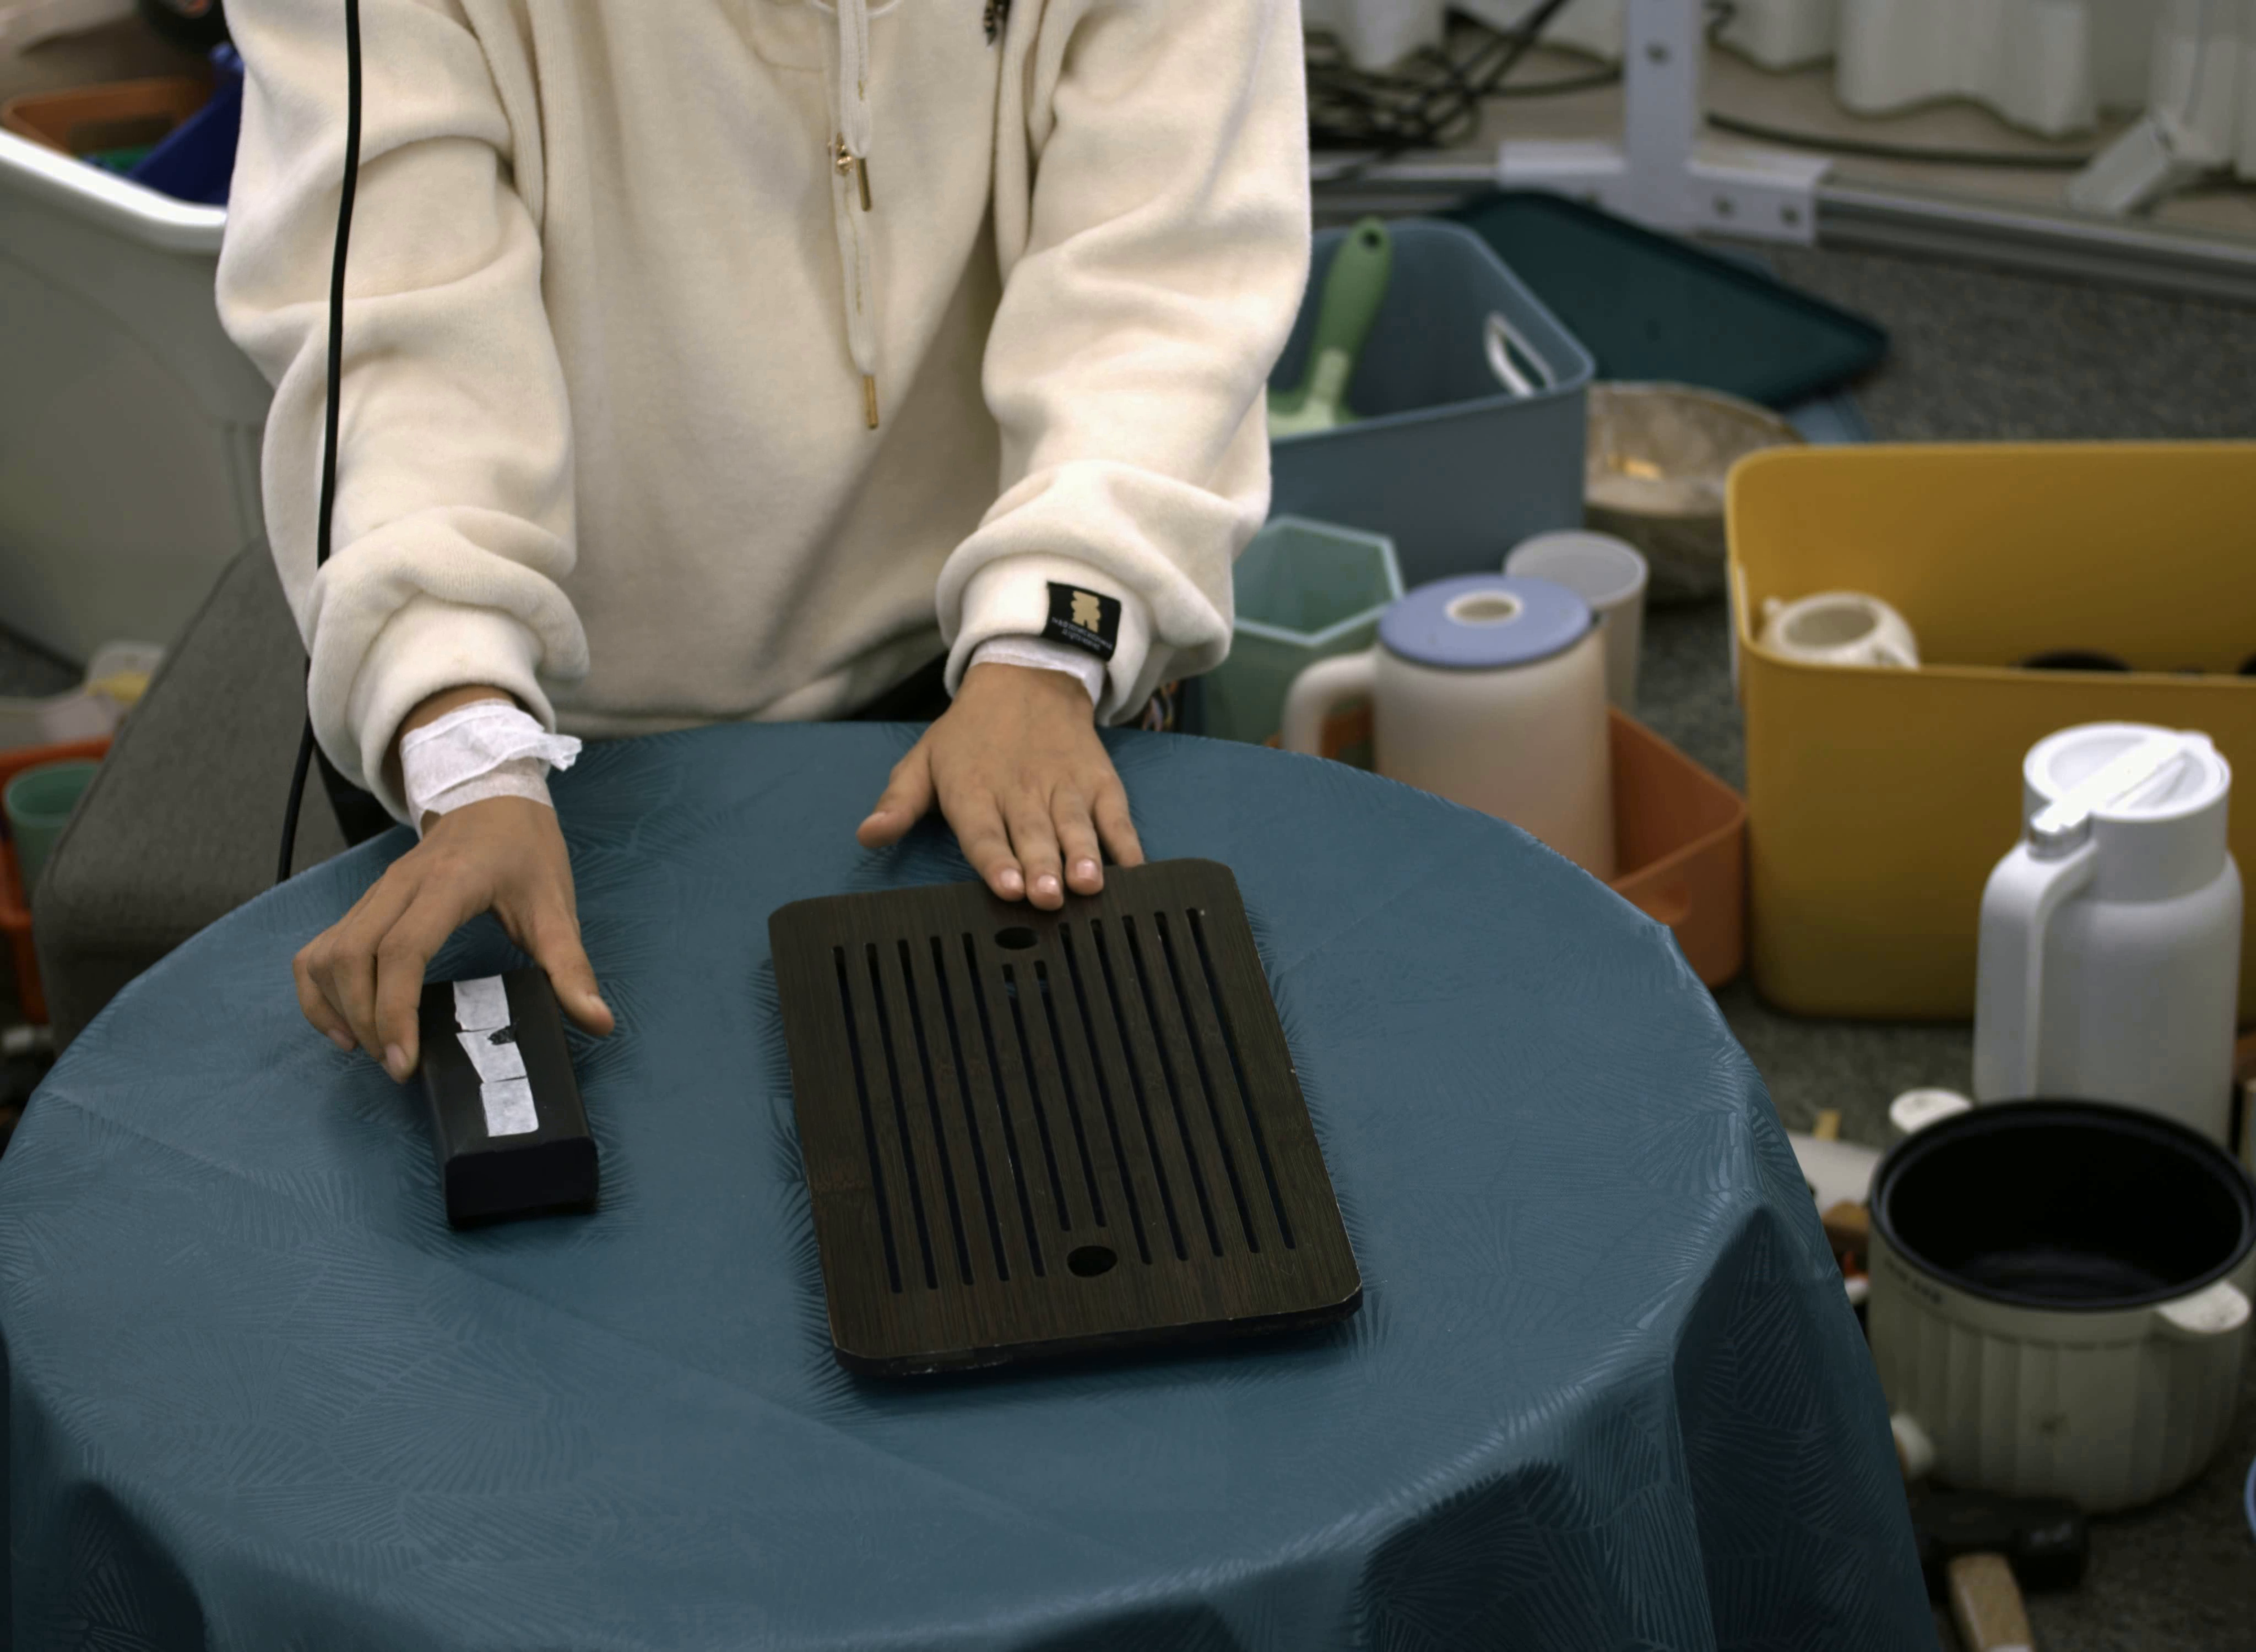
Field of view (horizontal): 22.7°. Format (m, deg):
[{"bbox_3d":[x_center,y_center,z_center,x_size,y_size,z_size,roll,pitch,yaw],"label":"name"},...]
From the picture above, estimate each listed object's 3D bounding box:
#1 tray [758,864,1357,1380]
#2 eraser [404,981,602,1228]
[{"bbox_3d":[-0.030,0.097,1.893,0.169,0.018,0.310,-6,28,-6],"label":"tray"},{"bbox_3d":[-0.212,0.094,1.906,0.053,0.030,0.127,-6,26,-11],"label":"eraser"}]
